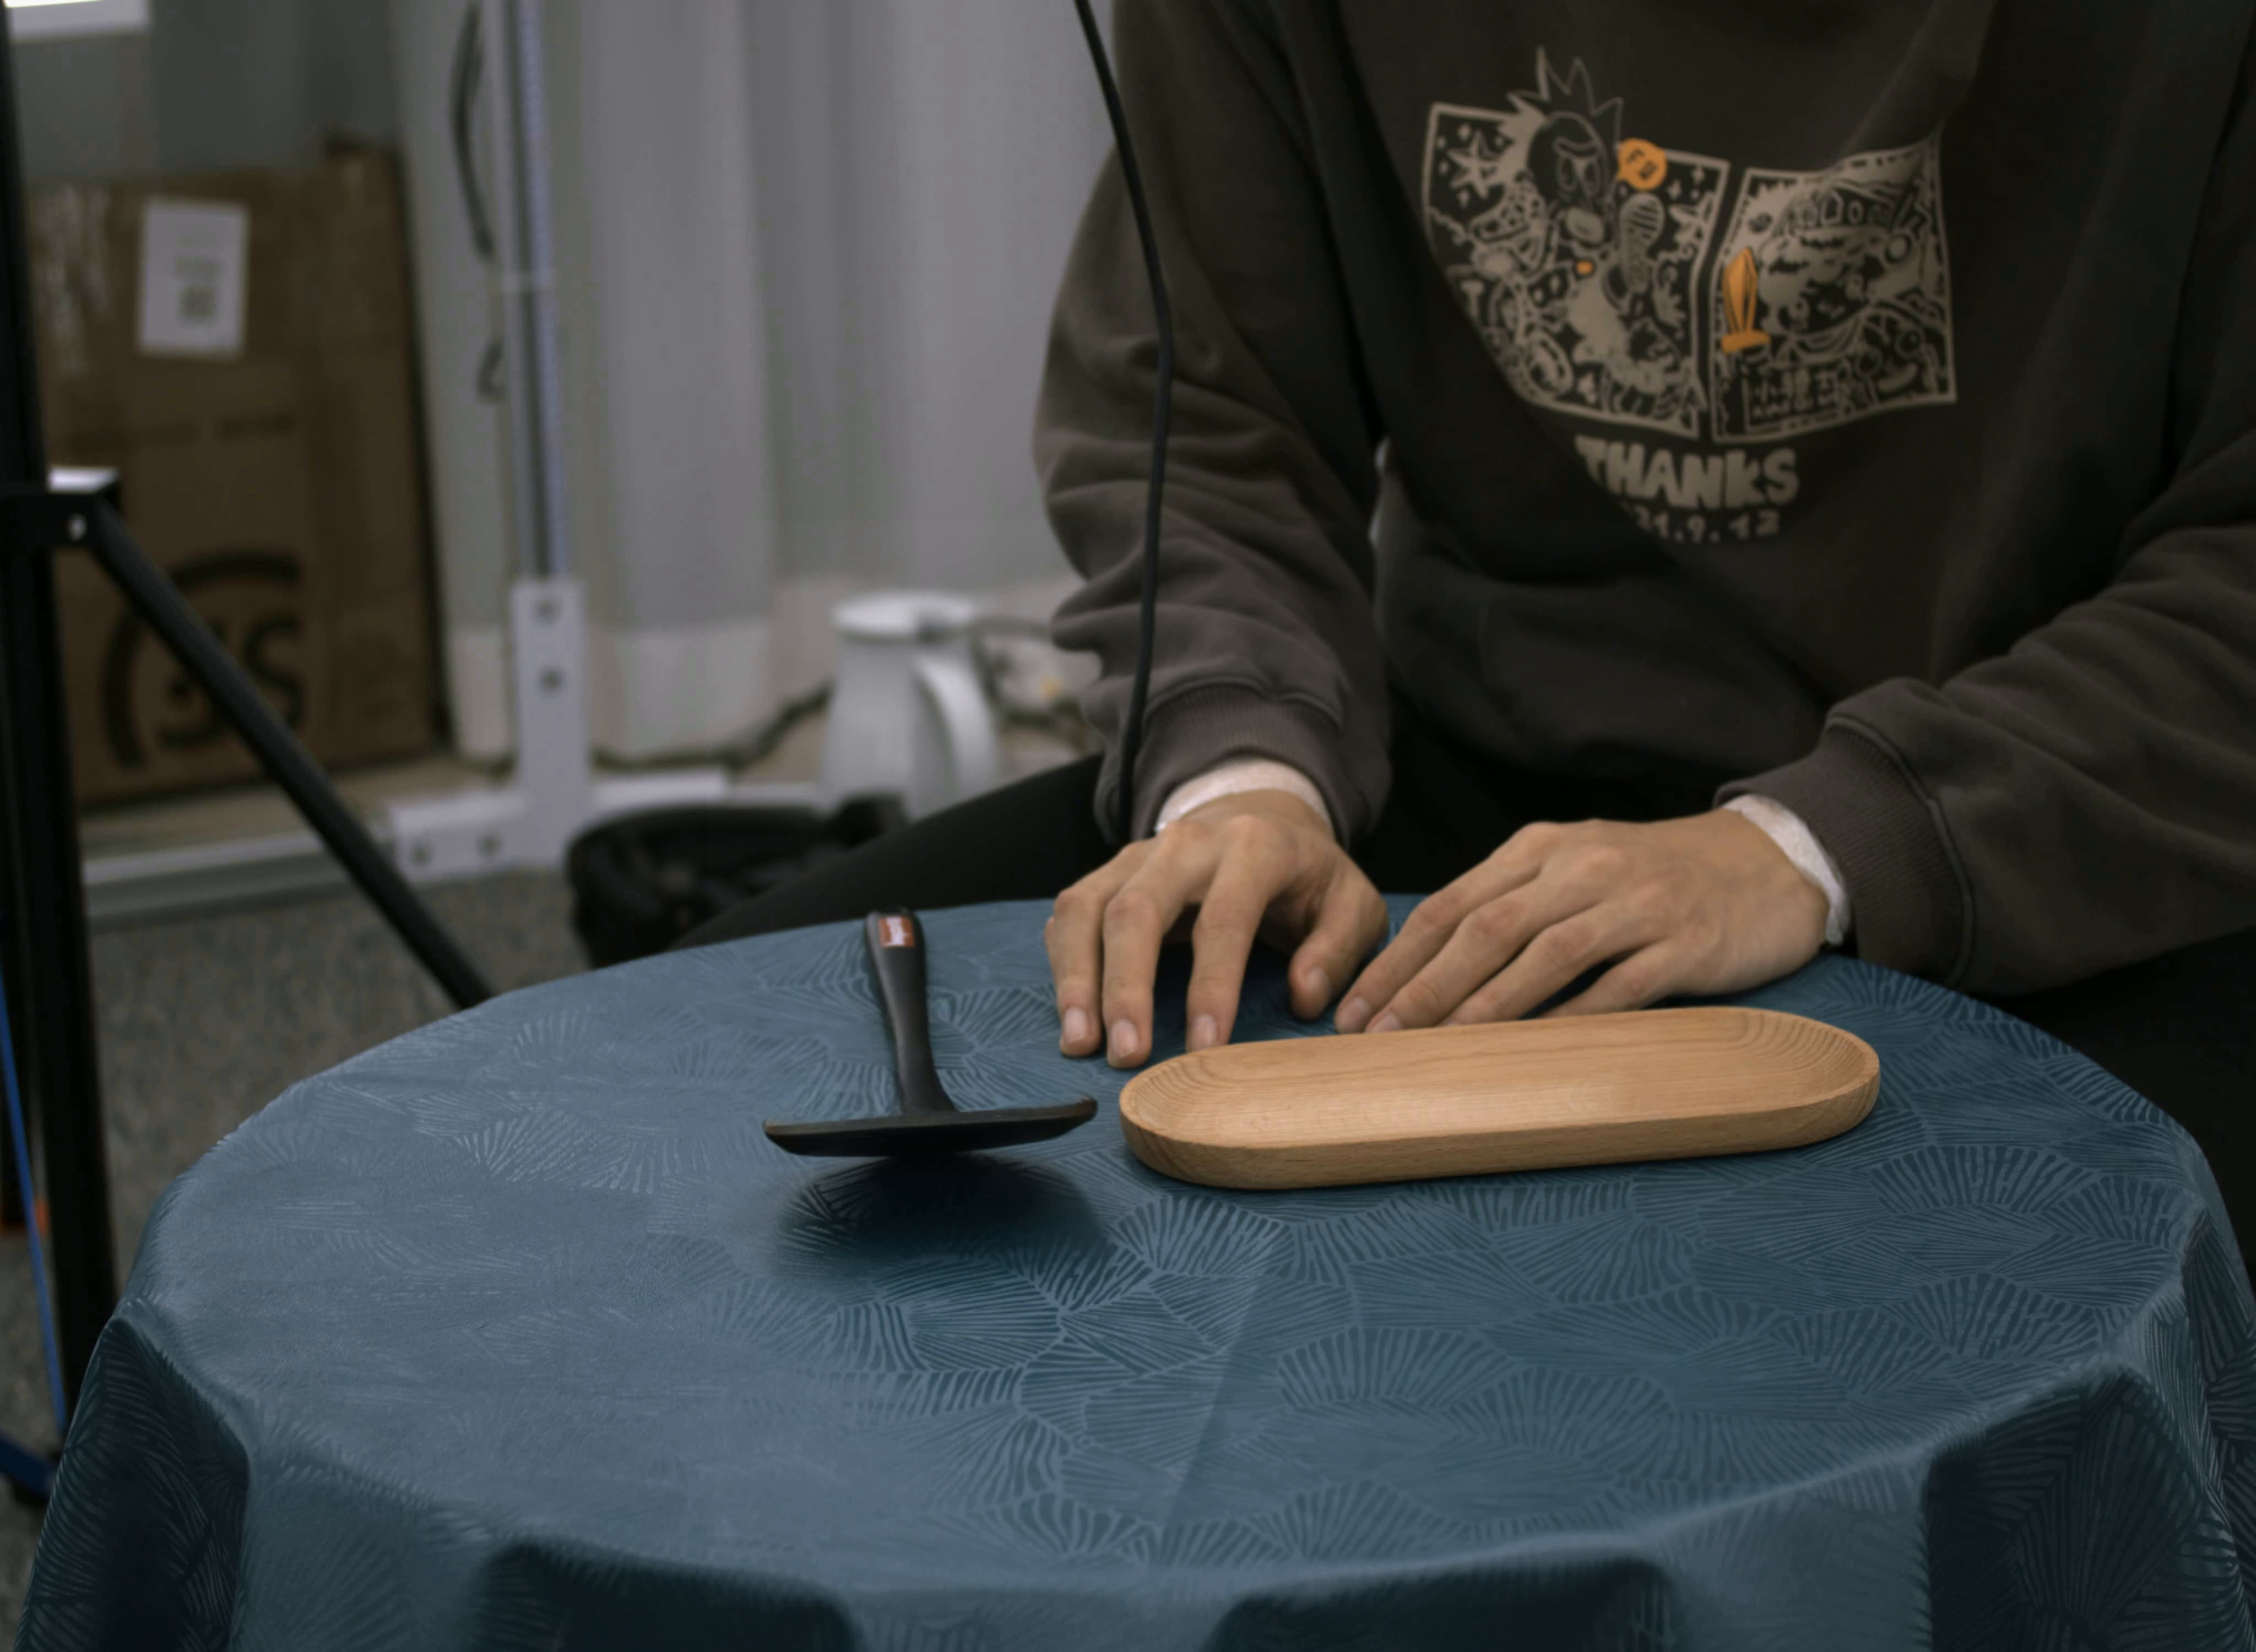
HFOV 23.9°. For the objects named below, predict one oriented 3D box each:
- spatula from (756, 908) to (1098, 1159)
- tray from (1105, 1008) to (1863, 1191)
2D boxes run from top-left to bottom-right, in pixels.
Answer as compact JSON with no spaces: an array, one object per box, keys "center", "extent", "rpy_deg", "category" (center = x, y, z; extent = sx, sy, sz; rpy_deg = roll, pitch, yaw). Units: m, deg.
[{"center":[-0.070,0.061,1.676],"extent":[0.099,0.040,0.328],"rpy_deg":[-3,16,-4],"category":"spatula"},{"center":[0.108,0.083,1.602],"extent":[0.229,0.020,0.102],"rpy_deg":[-5,16,-4],"category":"tray"}]
